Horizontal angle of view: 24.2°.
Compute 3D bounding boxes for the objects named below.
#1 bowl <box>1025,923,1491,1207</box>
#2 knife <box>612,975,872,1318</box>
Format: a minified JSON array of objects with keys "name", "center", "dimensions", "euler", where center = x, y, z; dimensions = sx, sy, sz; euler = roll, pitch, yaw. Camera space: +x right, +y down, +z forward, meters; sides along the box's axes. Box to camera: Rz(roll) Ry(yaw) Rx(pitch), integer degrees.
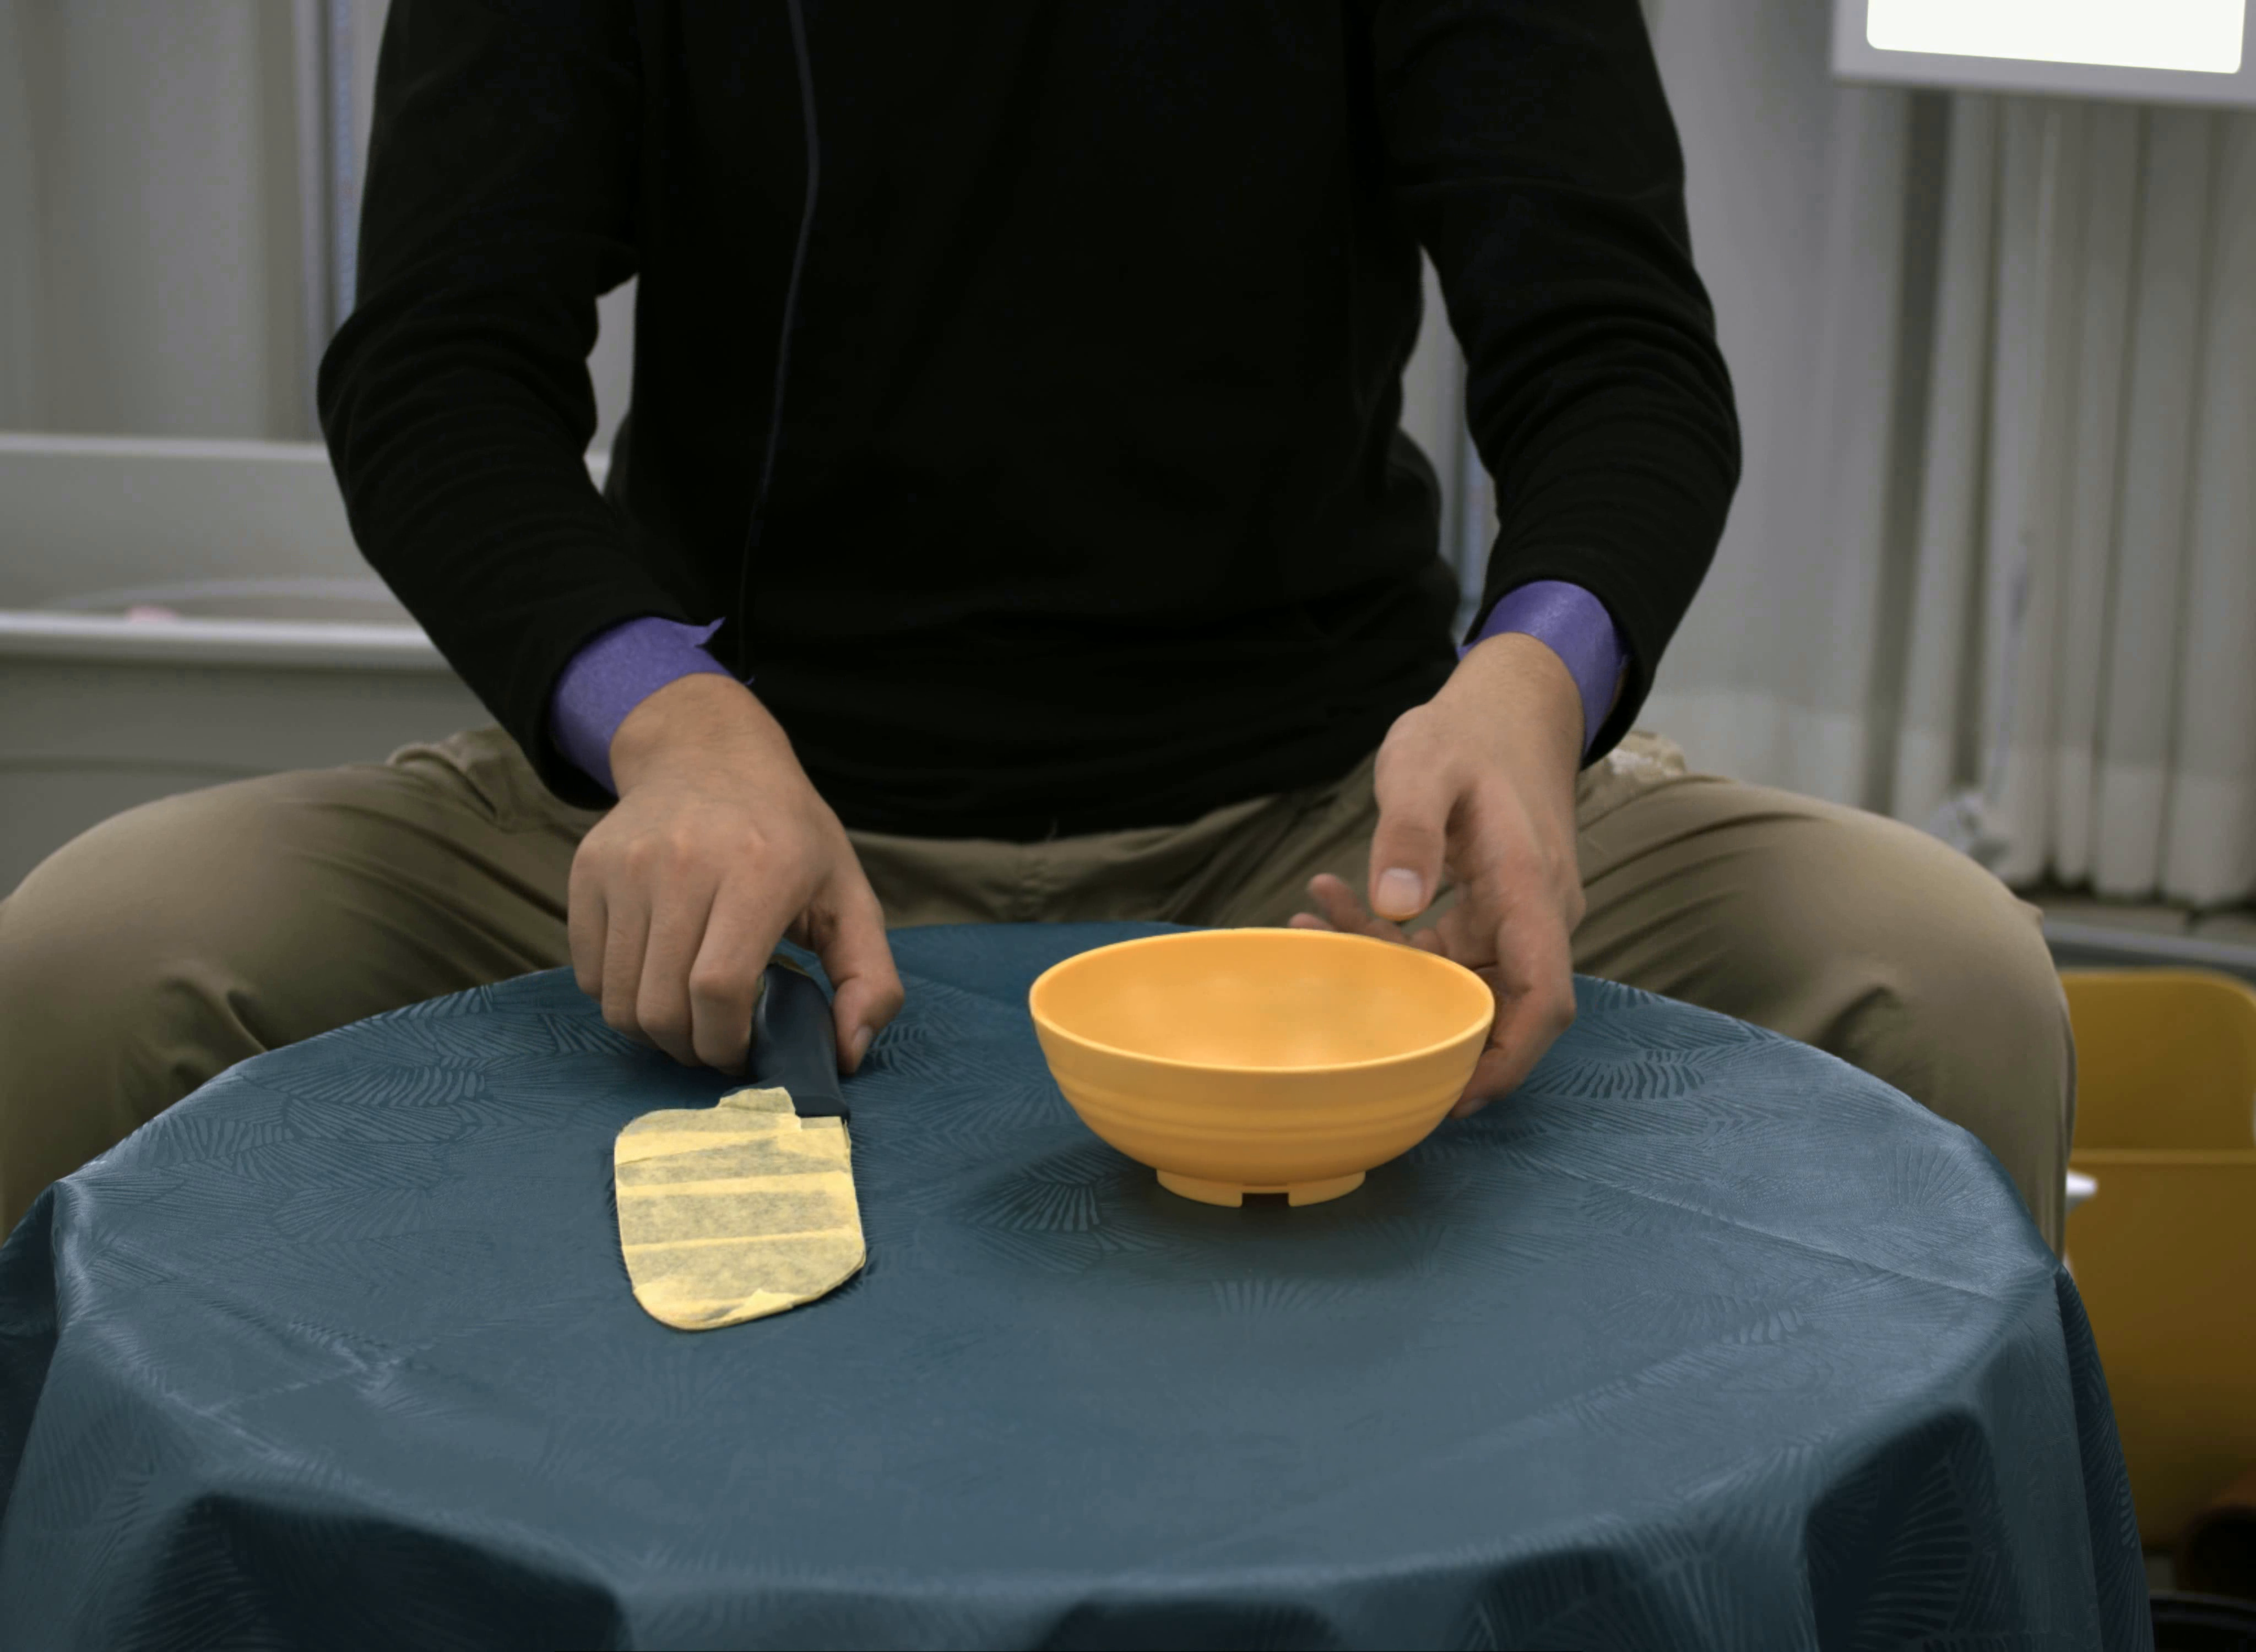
[{"name":"bowl","center":[0.039,0.079,1.633],"dimensions":[0.145,0.060,0.144],"euler":[3,16,0]},{"name":"knife","center":[-0.121,0.099,1.640],"dimensions":[0.081,0.027,0.287],"euler":[0,17,-4]}]
